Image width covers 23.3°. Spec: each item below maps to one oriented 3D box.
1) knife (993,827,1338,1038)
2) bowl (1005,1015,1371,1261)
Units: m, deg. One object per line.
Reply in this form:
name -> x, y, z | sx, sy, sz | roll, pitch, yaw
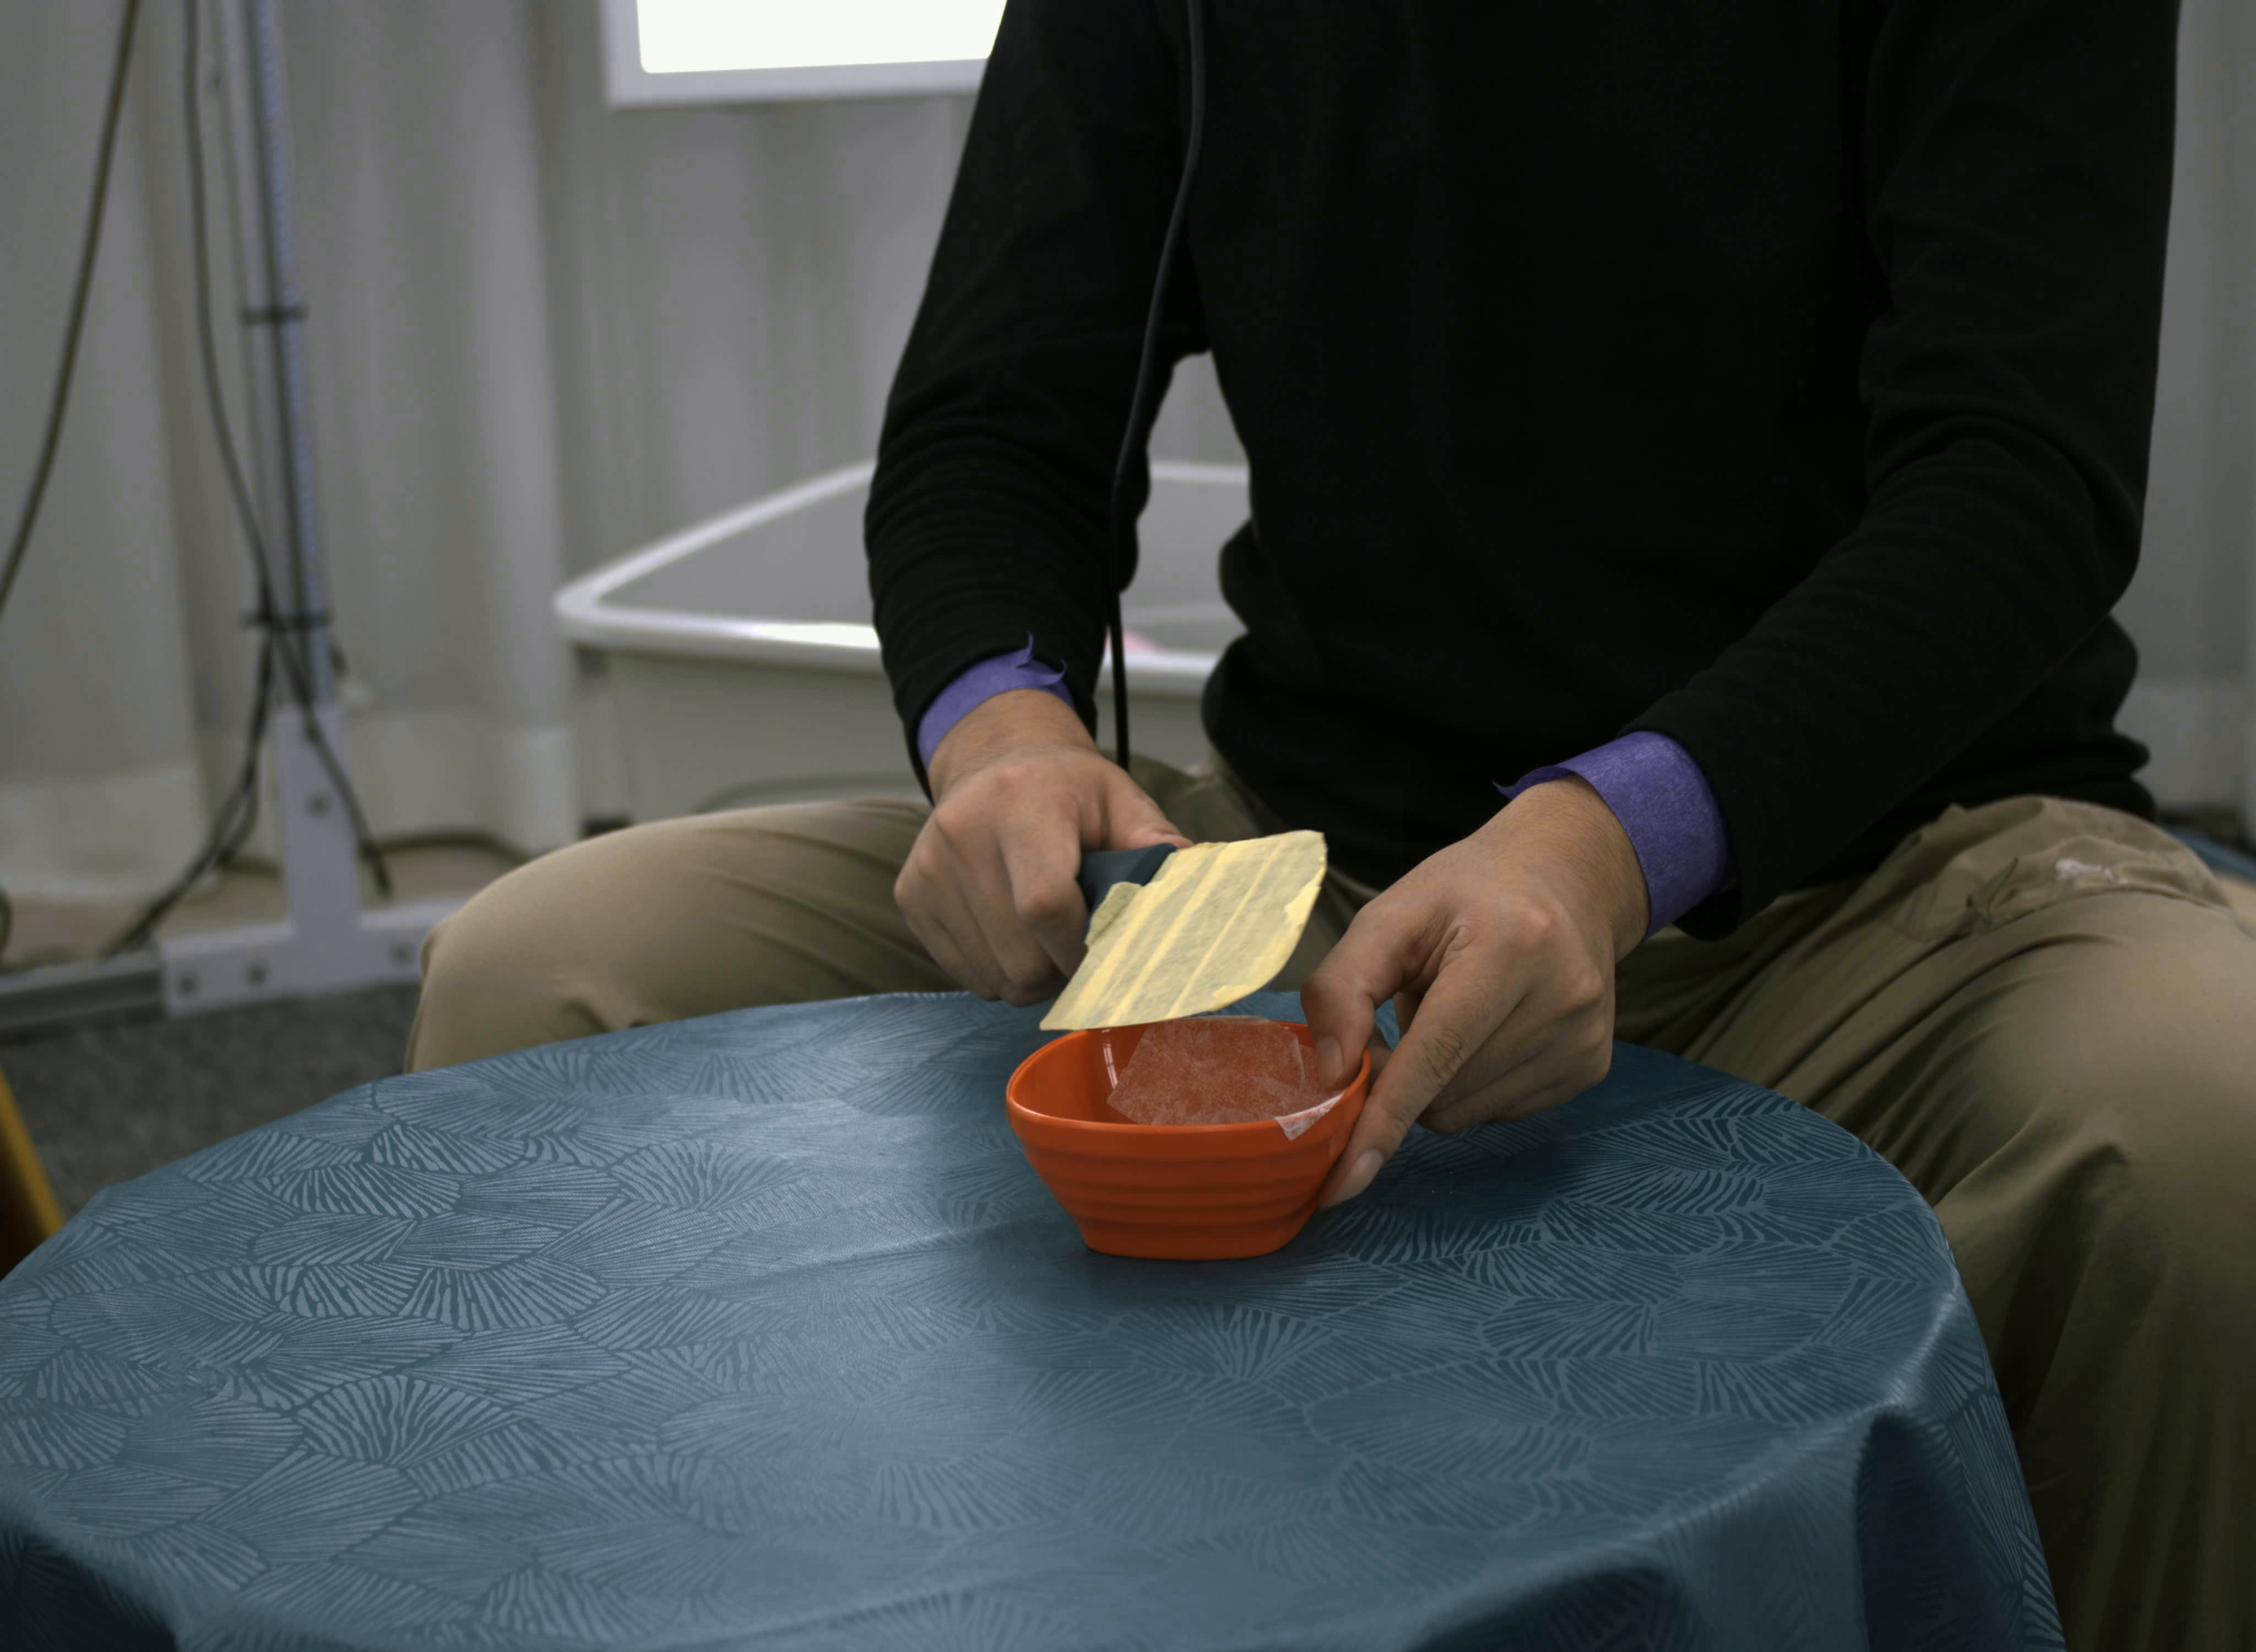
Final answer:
knife -> 0.004, 0.036, 1.745 | 0.081, 0.027, 0.289 | -51, 13, -15
bowl -> 0.020, 0.098, 1.673 | 0.118, 0.051, 0.120 | -5, 15, 1
